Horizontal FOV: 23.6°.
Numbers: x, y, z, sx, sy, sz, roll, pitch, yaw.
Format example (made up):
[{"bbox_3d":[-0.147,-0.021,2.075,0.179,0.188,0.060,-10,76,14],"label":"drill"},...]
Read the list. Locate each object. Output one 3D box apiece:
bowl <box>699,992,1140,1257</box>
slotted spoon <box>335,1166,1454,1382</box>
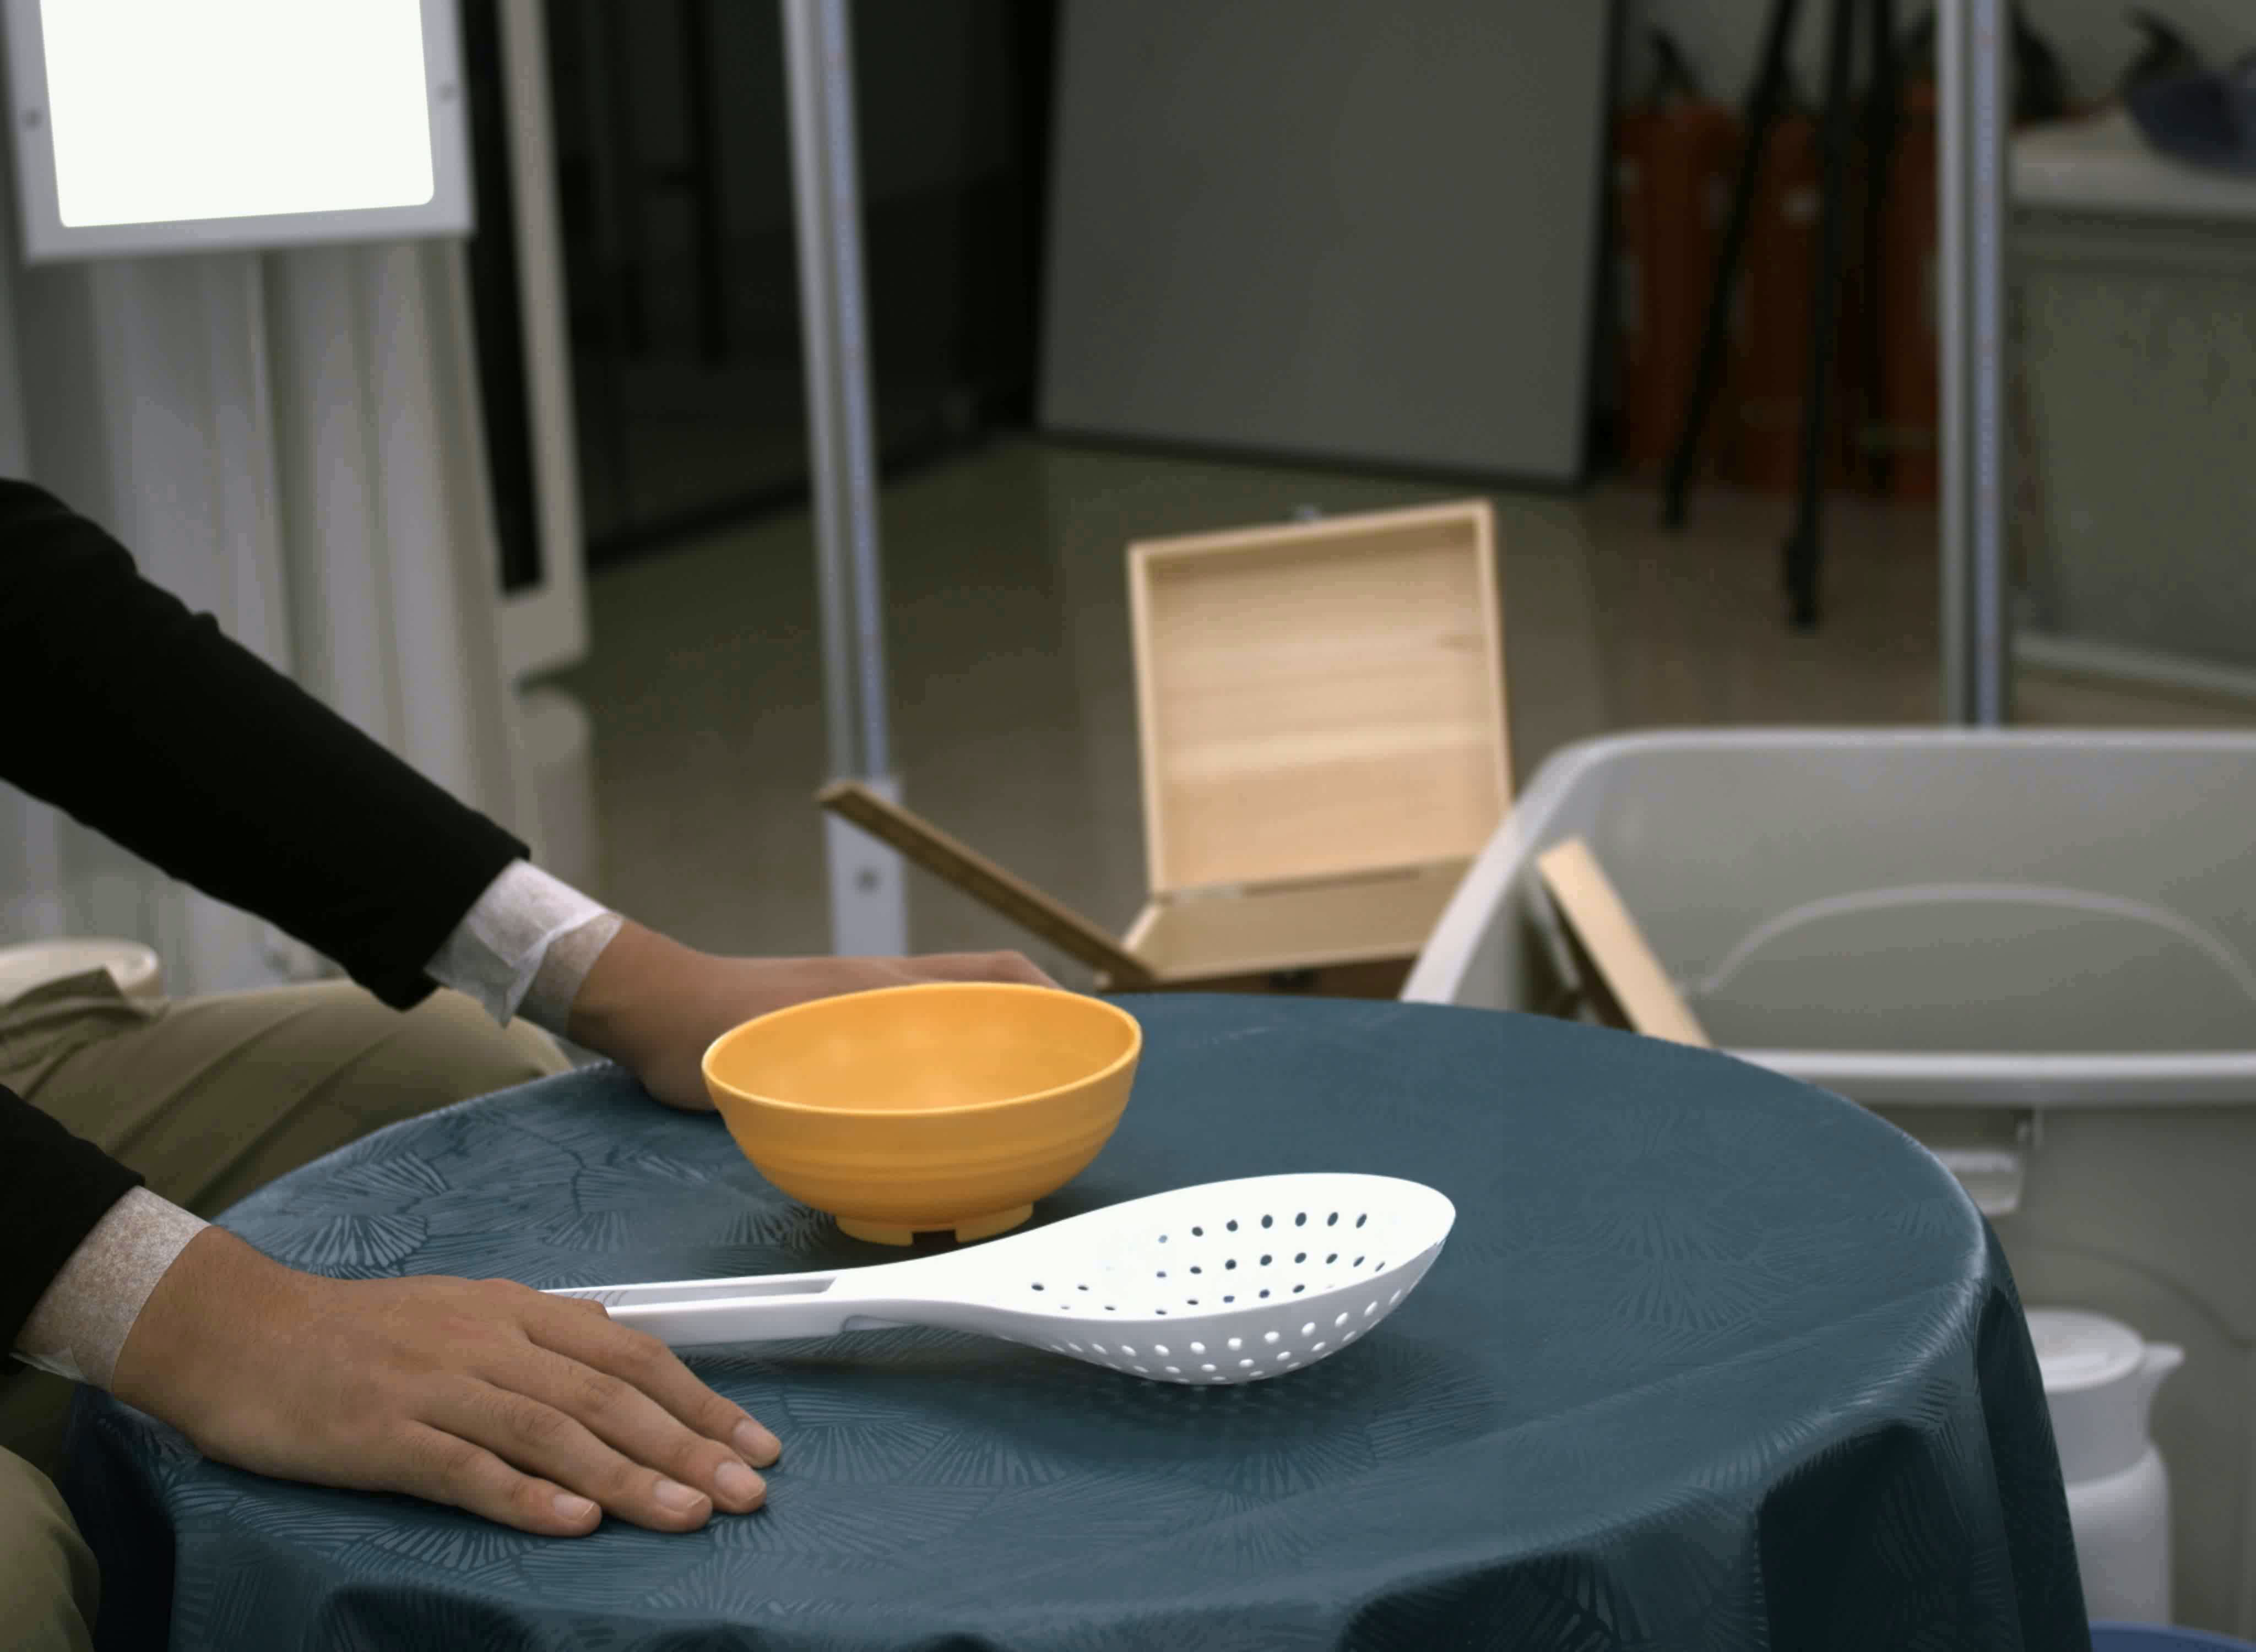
[{"bbox_3d":[-0.067,0.101,1.754,0.143,0.061,0.145,-2,13,0],"label":"bowl"},{"bbox_3d":[-0.072,0.141,1.615,0.348,0.046,0.135,-2,13,14],"label":"slotted spoon"}]
